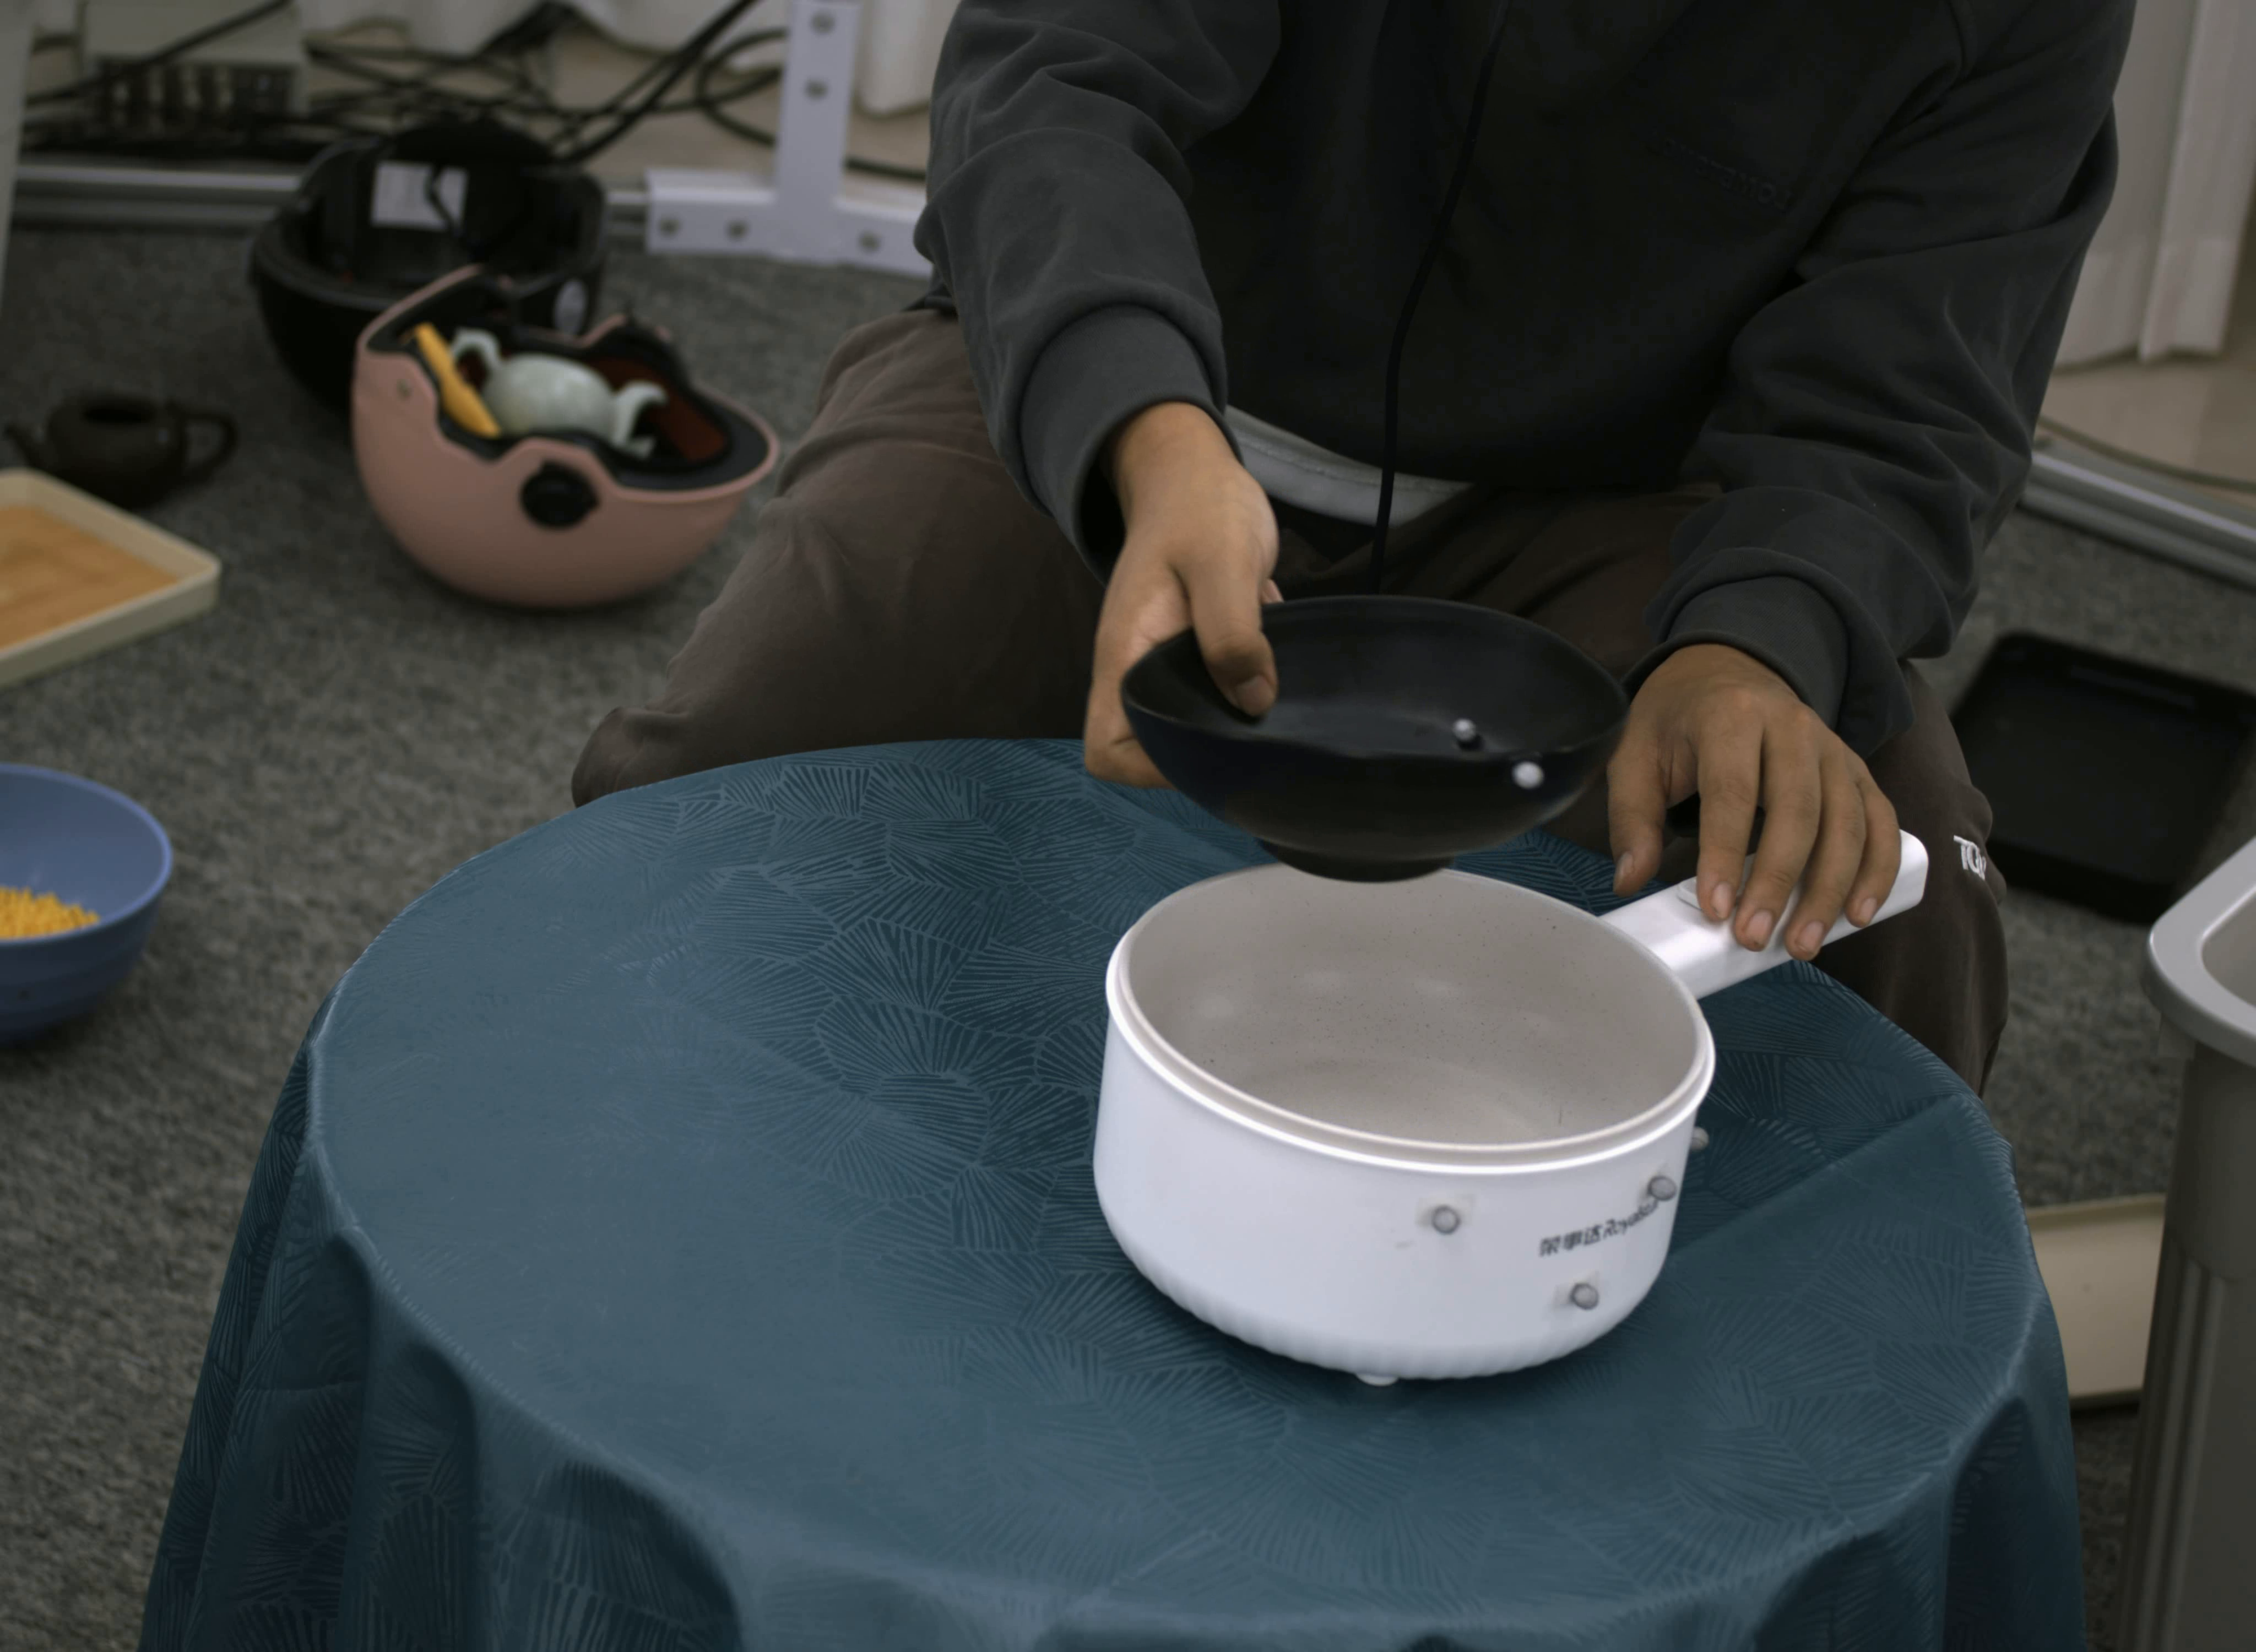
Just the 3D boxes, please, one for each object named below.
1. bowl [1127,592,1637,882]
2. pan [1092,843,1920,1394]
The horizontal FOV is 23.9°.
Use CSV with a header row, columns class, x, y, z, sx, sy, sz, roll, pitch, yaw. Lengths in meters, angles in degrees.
class,x,y,z,sx,sy,sz,roll,pitch,yaw
bowl,0.082,-0.023,1.767,0.170,0.066,0.138,5,24,9
pan,0.141,0.090,1.815,0.353,0.102,0.203,-17,31,-42
